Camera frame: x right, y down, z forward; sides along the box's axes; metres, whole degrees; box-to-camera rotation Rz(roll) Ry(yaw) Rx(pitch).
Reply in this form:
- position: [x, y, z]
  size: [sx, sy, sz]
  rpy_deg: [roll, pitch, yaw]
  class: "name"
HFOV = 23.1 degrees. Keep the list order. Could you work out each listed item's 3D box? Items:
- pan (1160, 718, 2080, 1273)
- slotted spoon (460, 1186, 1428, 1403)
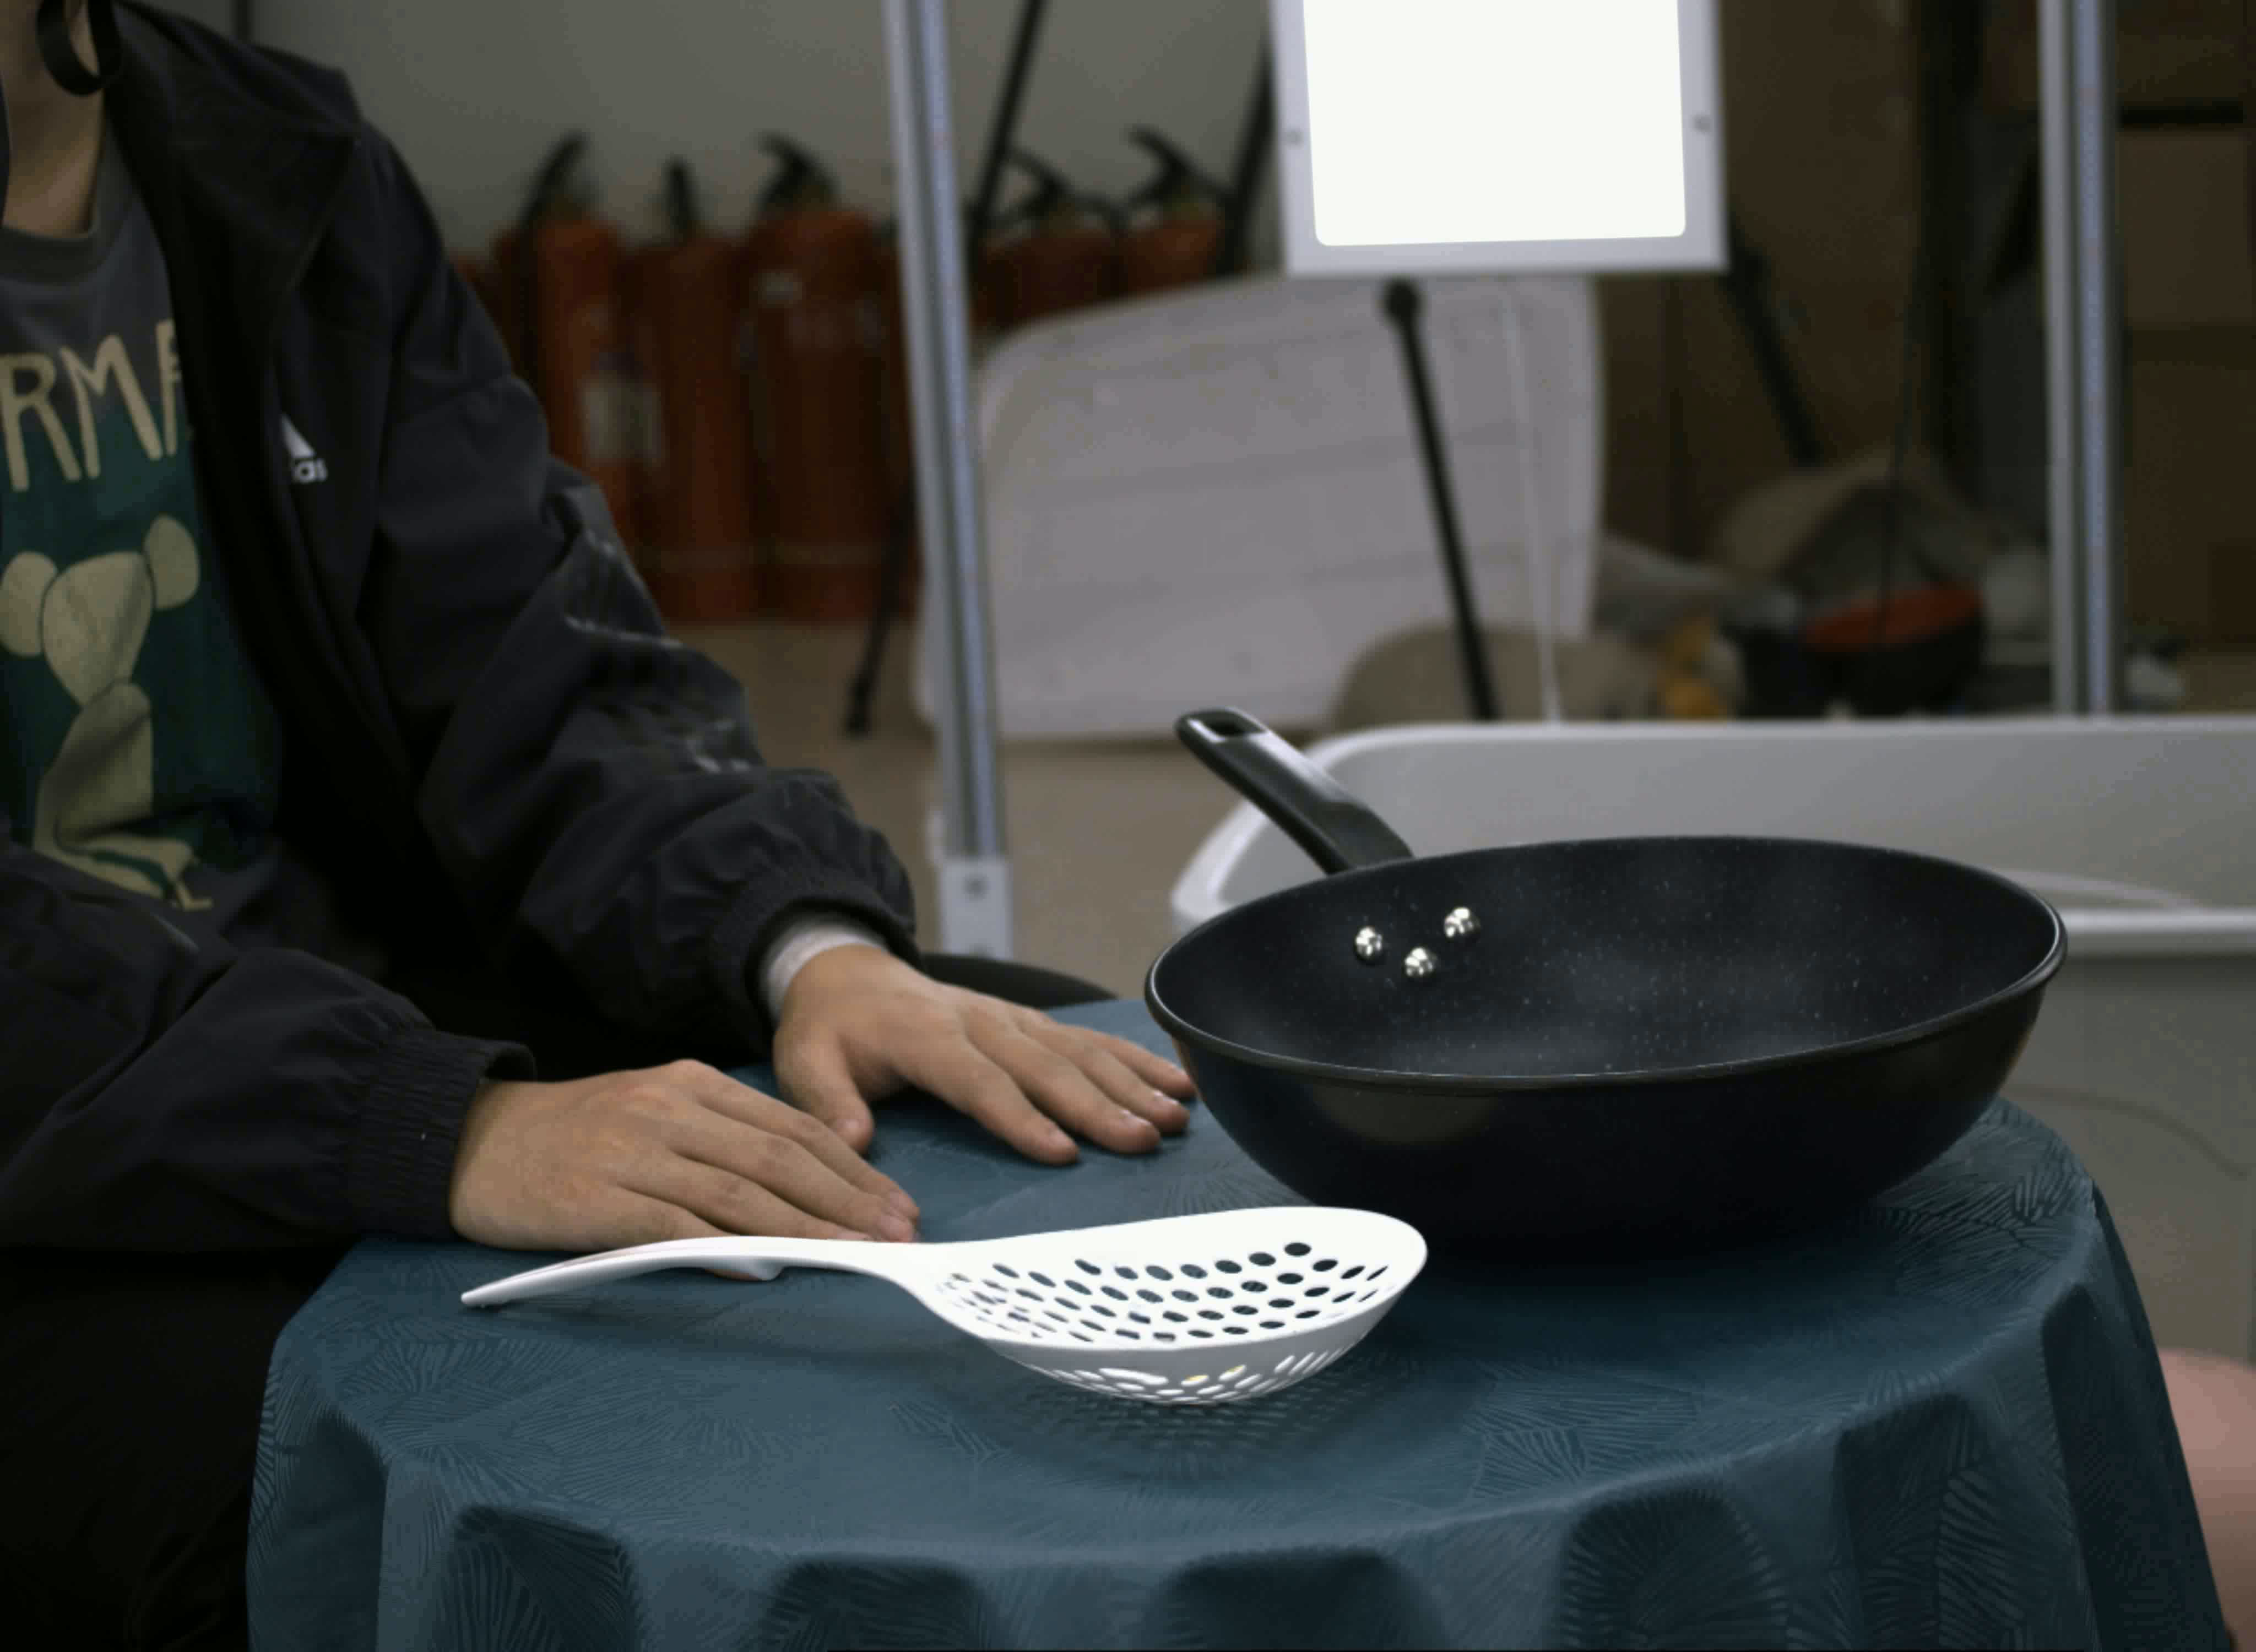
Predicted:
- position: [0.132, 0.057, 1.911]
  size: [0.304, 0.112, 0.484]
  rpy_deg: [-9, 14, -22]
  class: "pan"
- position: [-0.068, 0.148, 1.747]
  size: [0.354, 0.050, 0.133]
  rpy_deg: [3, 18, 32]
  class: "slotted spoon"
